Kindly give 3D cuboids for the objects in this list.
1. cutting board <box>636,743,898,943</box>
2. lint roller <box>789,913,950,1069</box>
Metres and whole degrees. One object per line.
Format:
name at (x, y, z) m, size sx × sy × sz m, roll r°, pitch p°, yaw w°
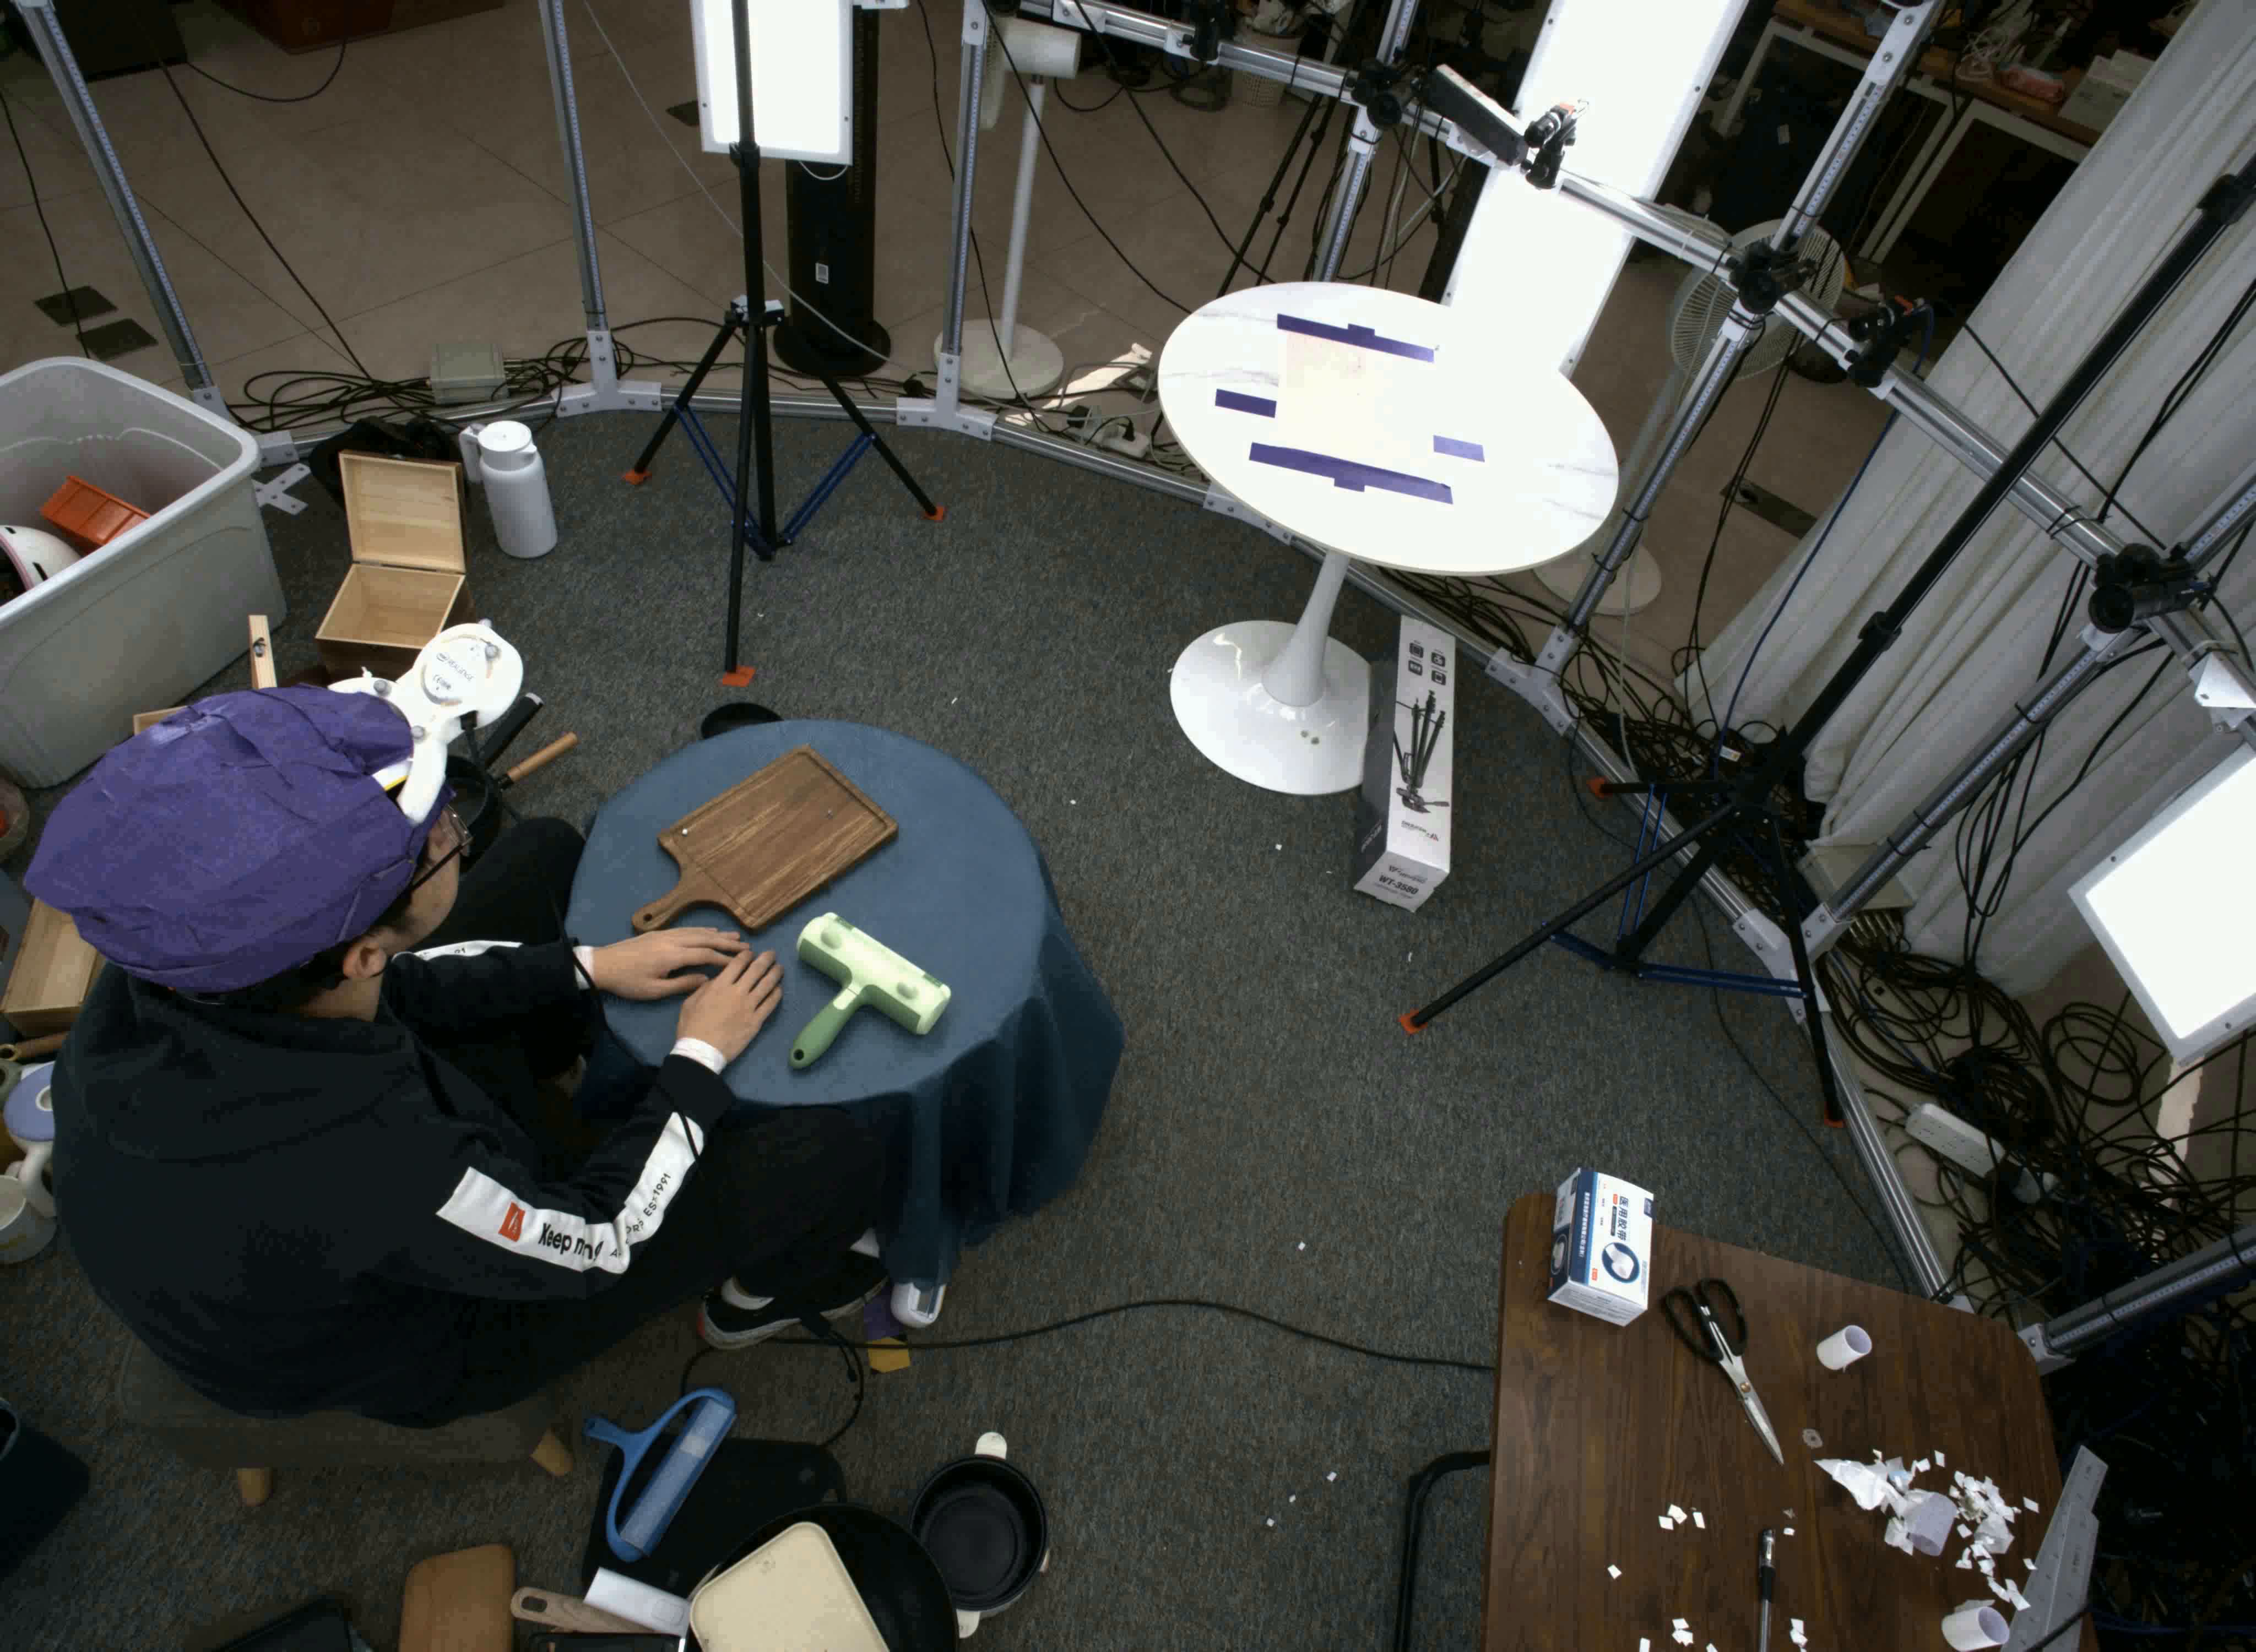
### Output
cutting board at (-0.489, 0.036, 1.673) m, size 0.197 × 0.023 × 0.352 m, roll 39°, pitch 55°, yaw 15°
lint roller at (-0.341, 0.206, 1.550) m, size 0.195 × 0.084 × 0.183 m, roll 32°, pitch 48°, yaw 10°
